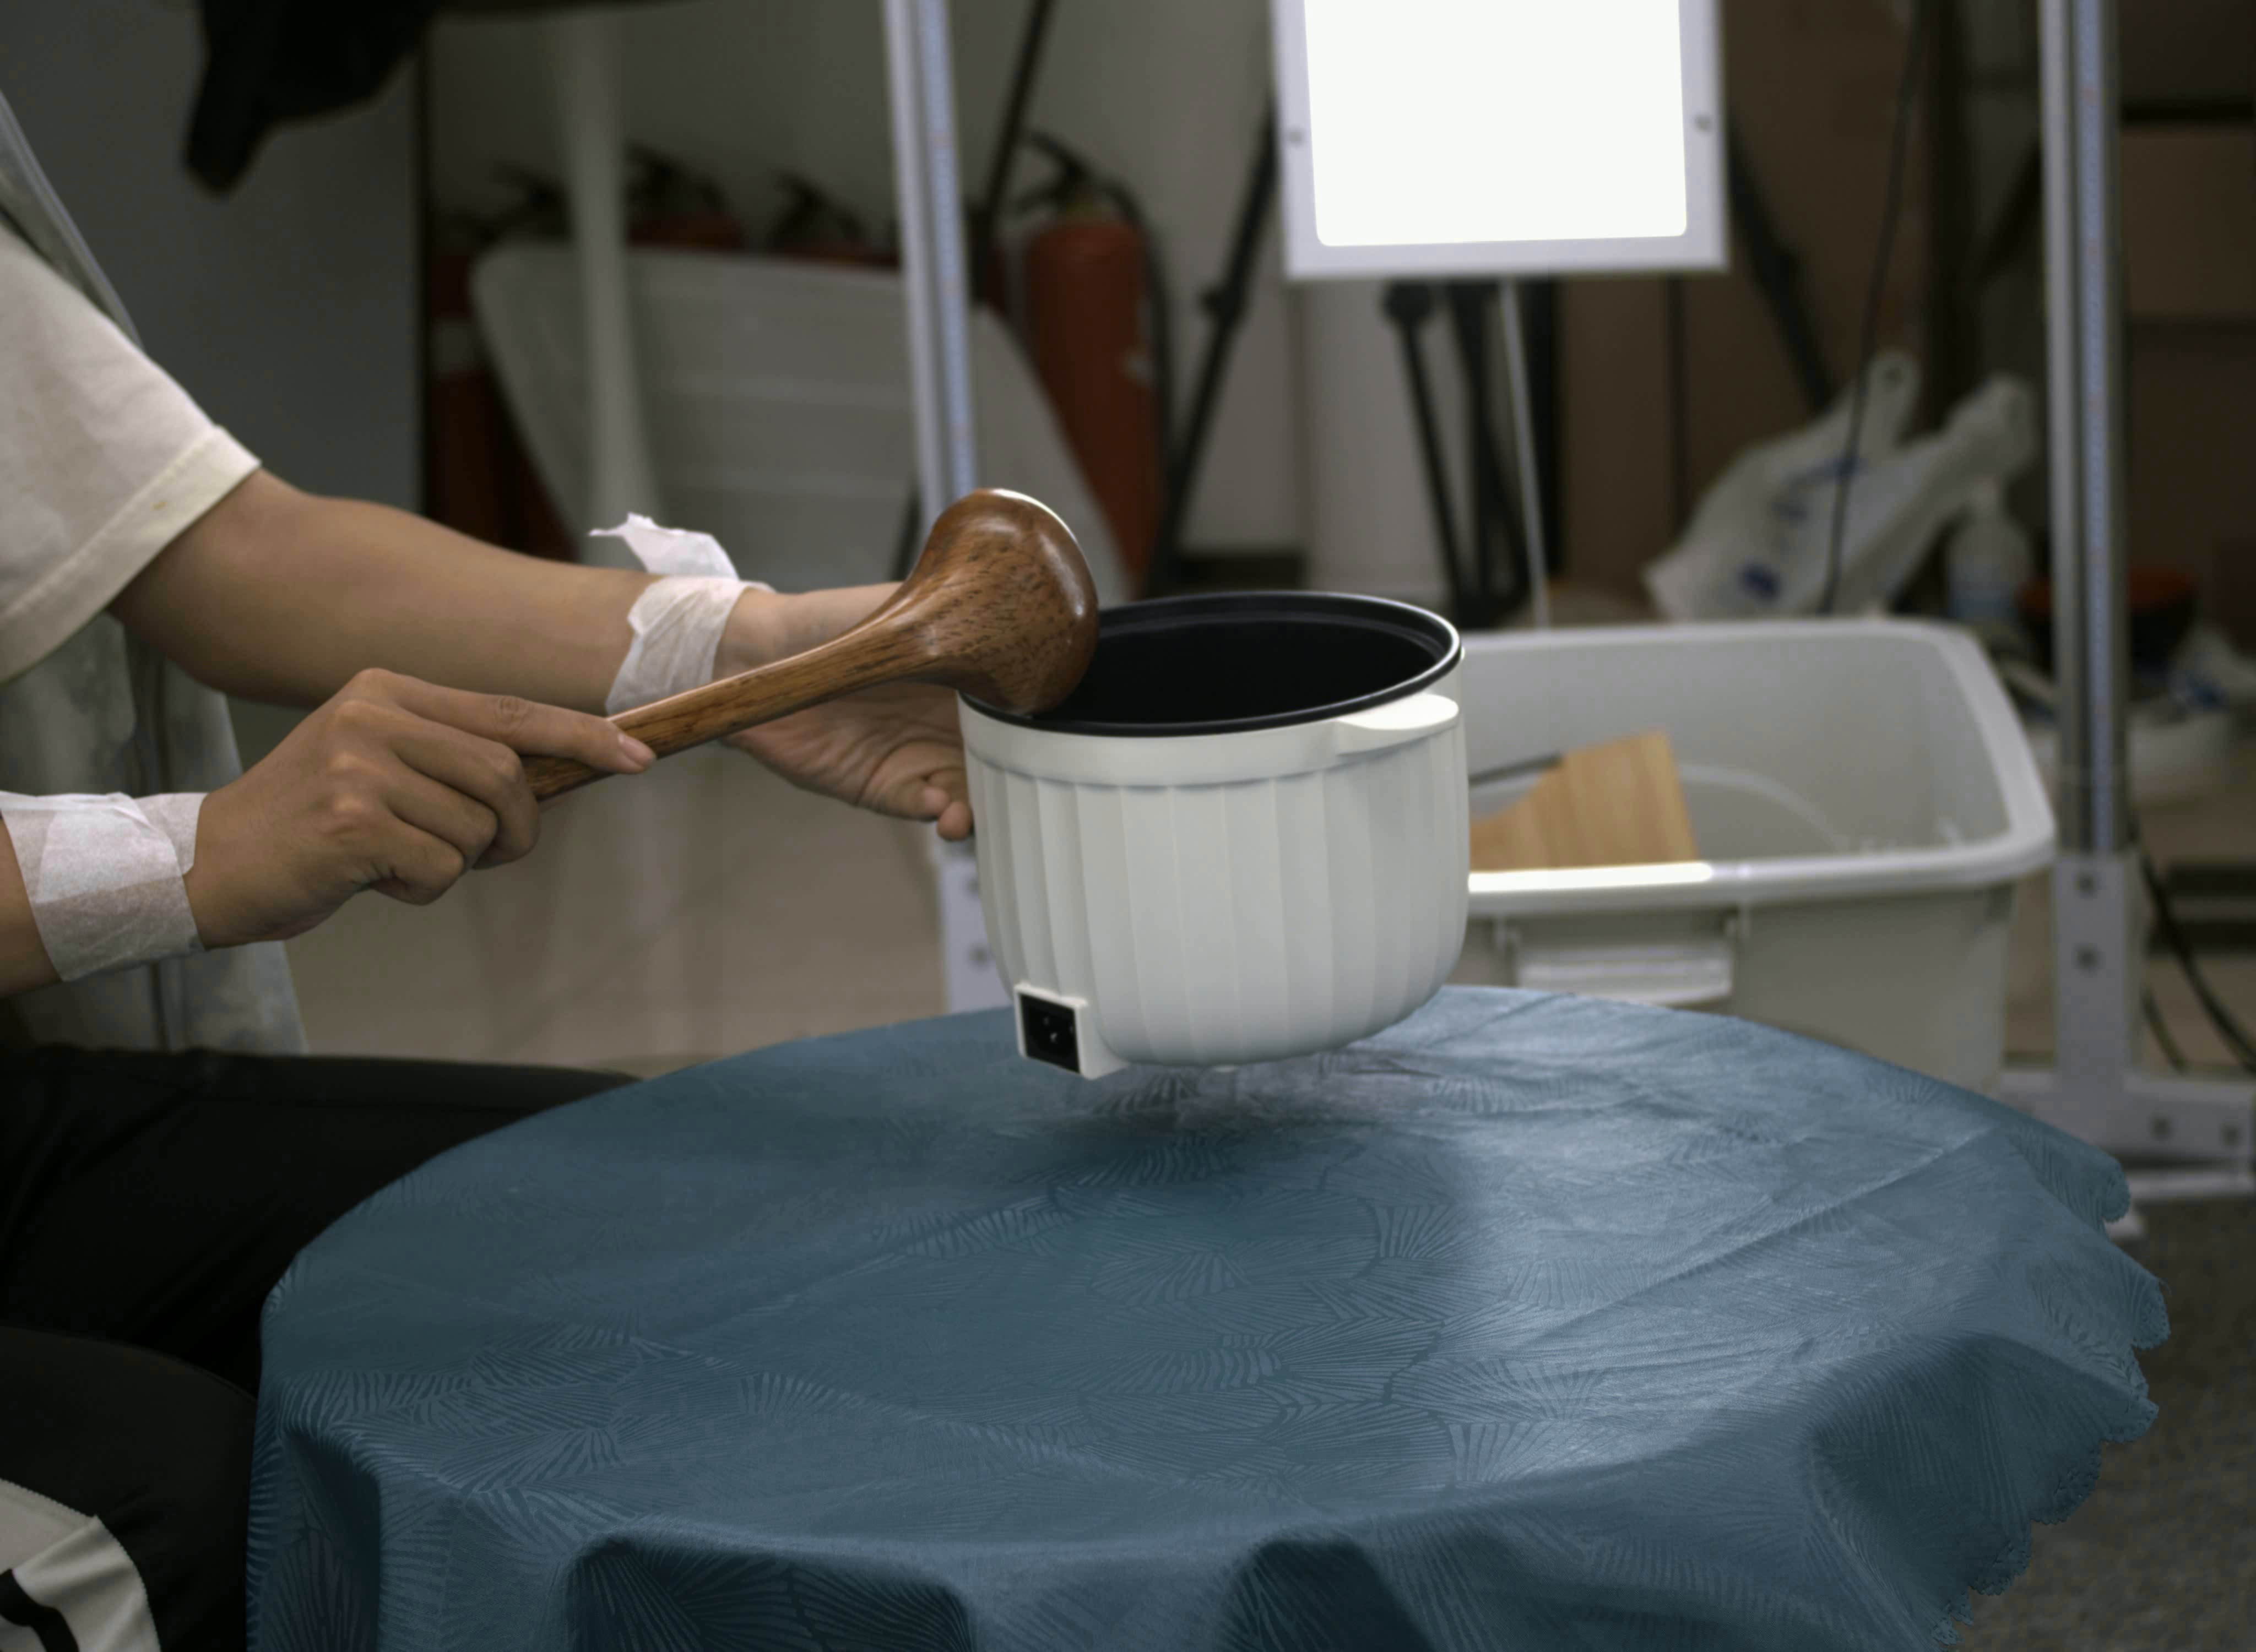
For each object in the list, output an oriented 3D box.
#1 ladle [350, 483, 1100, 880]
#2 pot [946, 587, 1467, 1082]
[{"bbox_3d":[-0.137,-0.042,1.885,0.272,0.082,0.077,-21,-2,-6],"label":"ladle"},{"bbox_3d":[0.036,0.001,1.976,0.186,0.143,0.245,-22,24,-35],"label":"pot"}]
